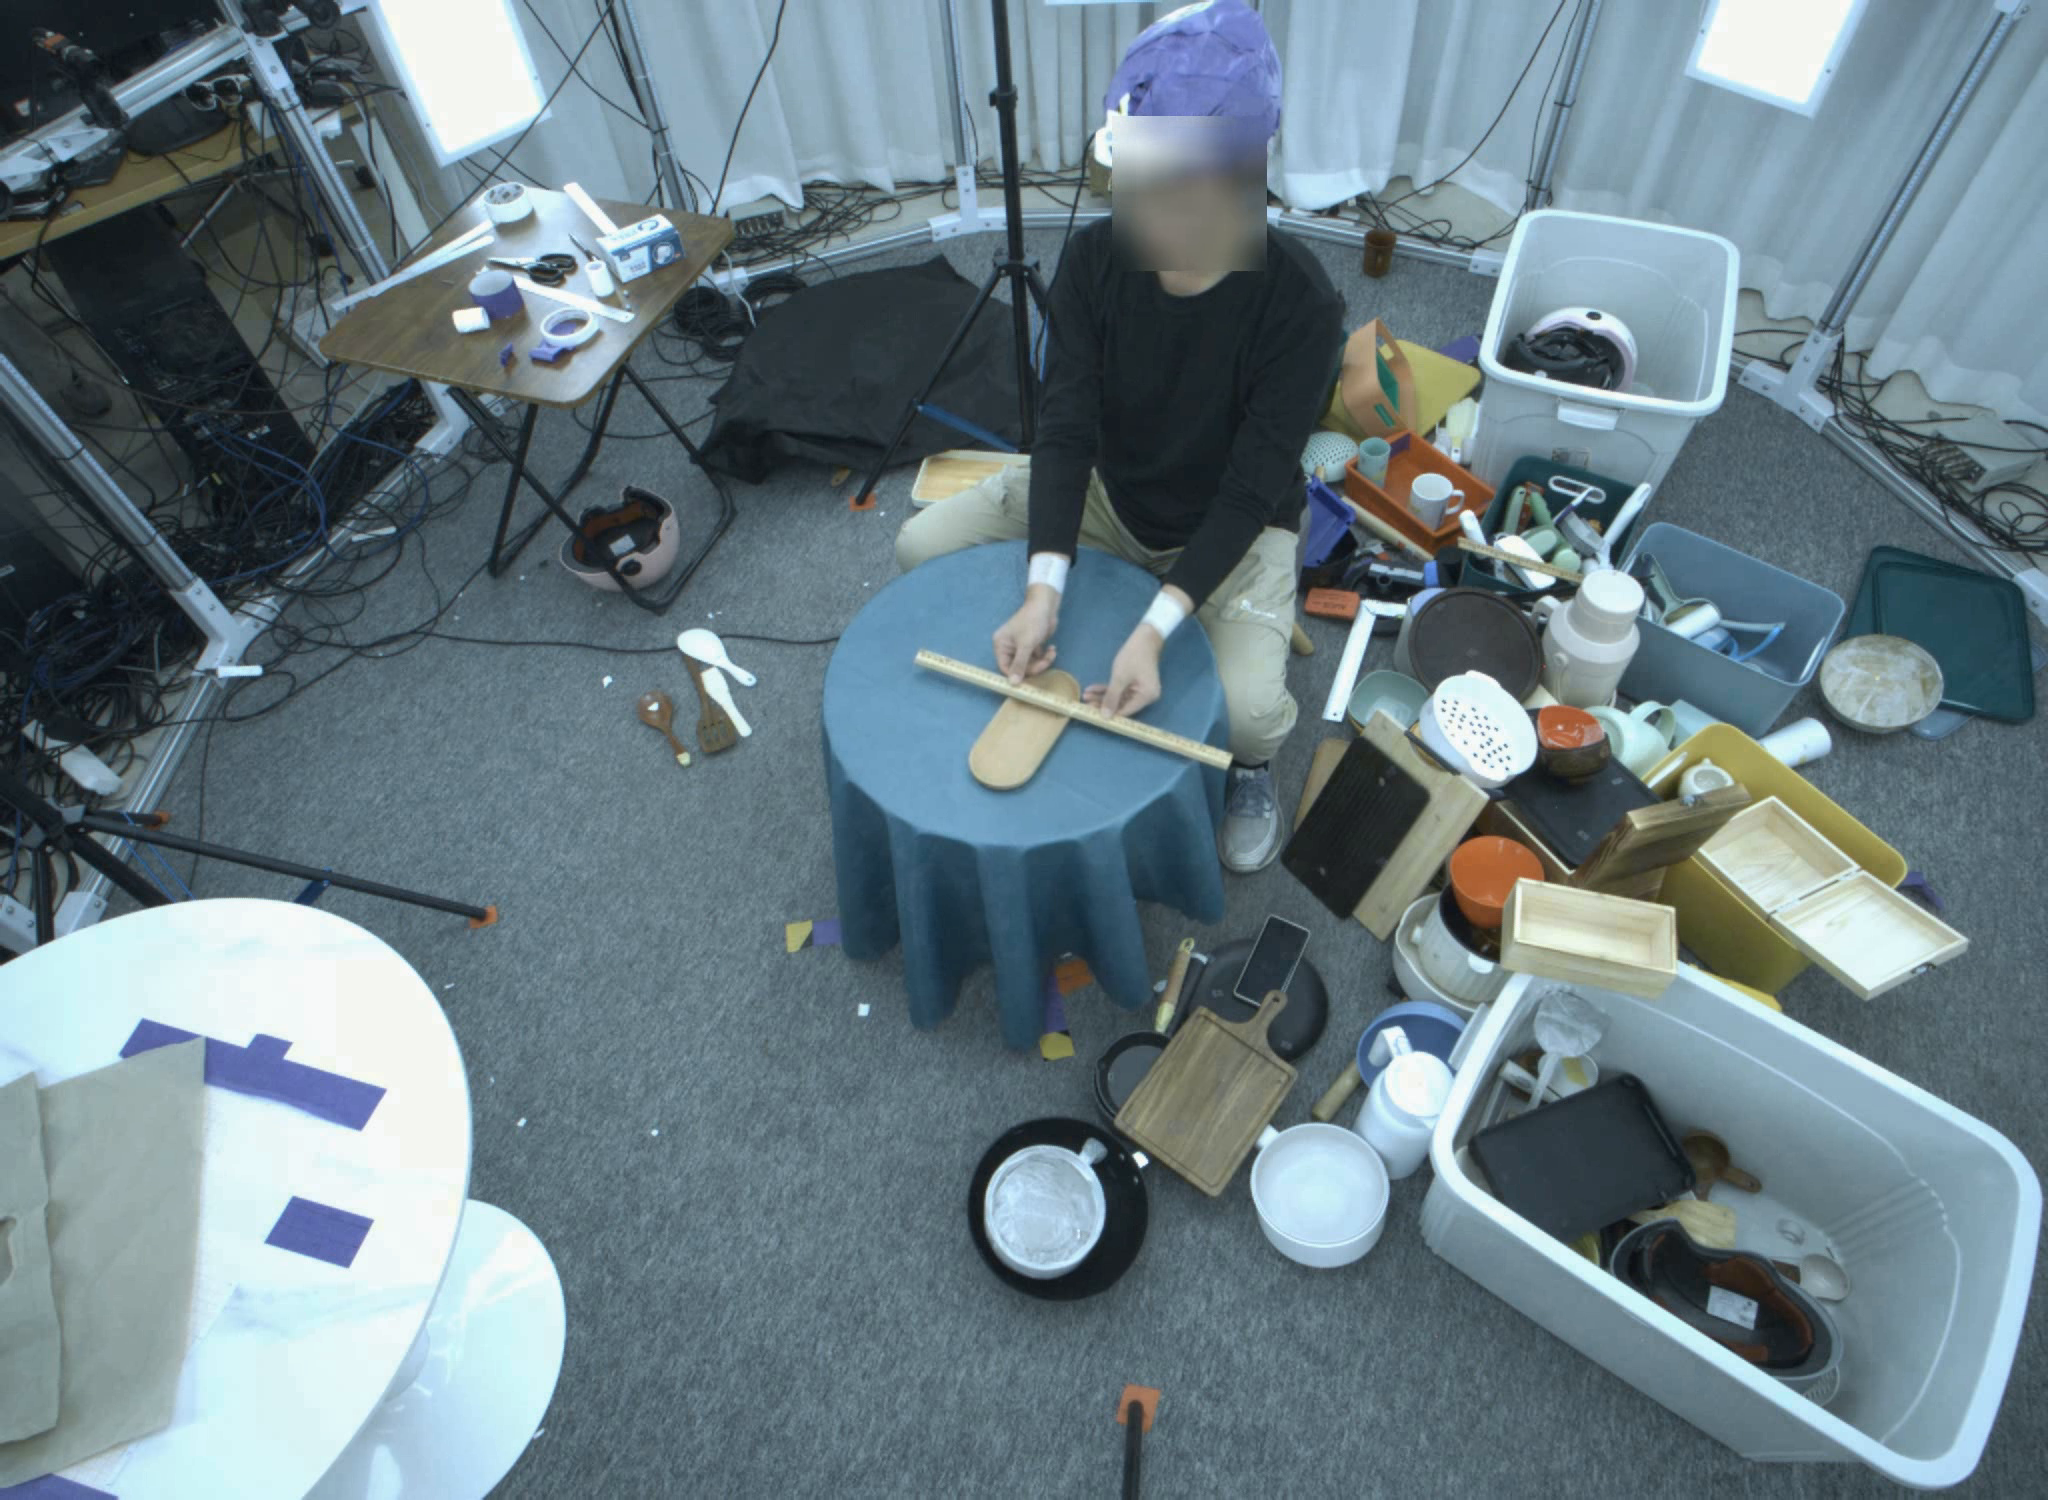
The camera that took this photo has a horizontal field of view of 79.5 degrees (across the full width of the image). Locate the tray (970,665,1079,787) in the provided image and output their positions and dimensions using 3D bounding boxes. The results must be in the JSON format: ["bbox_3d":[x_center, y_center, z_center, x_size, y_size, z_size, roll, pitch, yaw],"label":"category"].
[{"bbox_3d":[0.002,-0.037,1.804,0.100,0.020,0.231,22,57,15],"label":"tray"}]

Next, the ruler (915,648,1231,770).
[{"bbox_3d":[0.064,-0.064,1.804,0.495,0.006,0.027,20,74,14],"label":"ruler"}]
